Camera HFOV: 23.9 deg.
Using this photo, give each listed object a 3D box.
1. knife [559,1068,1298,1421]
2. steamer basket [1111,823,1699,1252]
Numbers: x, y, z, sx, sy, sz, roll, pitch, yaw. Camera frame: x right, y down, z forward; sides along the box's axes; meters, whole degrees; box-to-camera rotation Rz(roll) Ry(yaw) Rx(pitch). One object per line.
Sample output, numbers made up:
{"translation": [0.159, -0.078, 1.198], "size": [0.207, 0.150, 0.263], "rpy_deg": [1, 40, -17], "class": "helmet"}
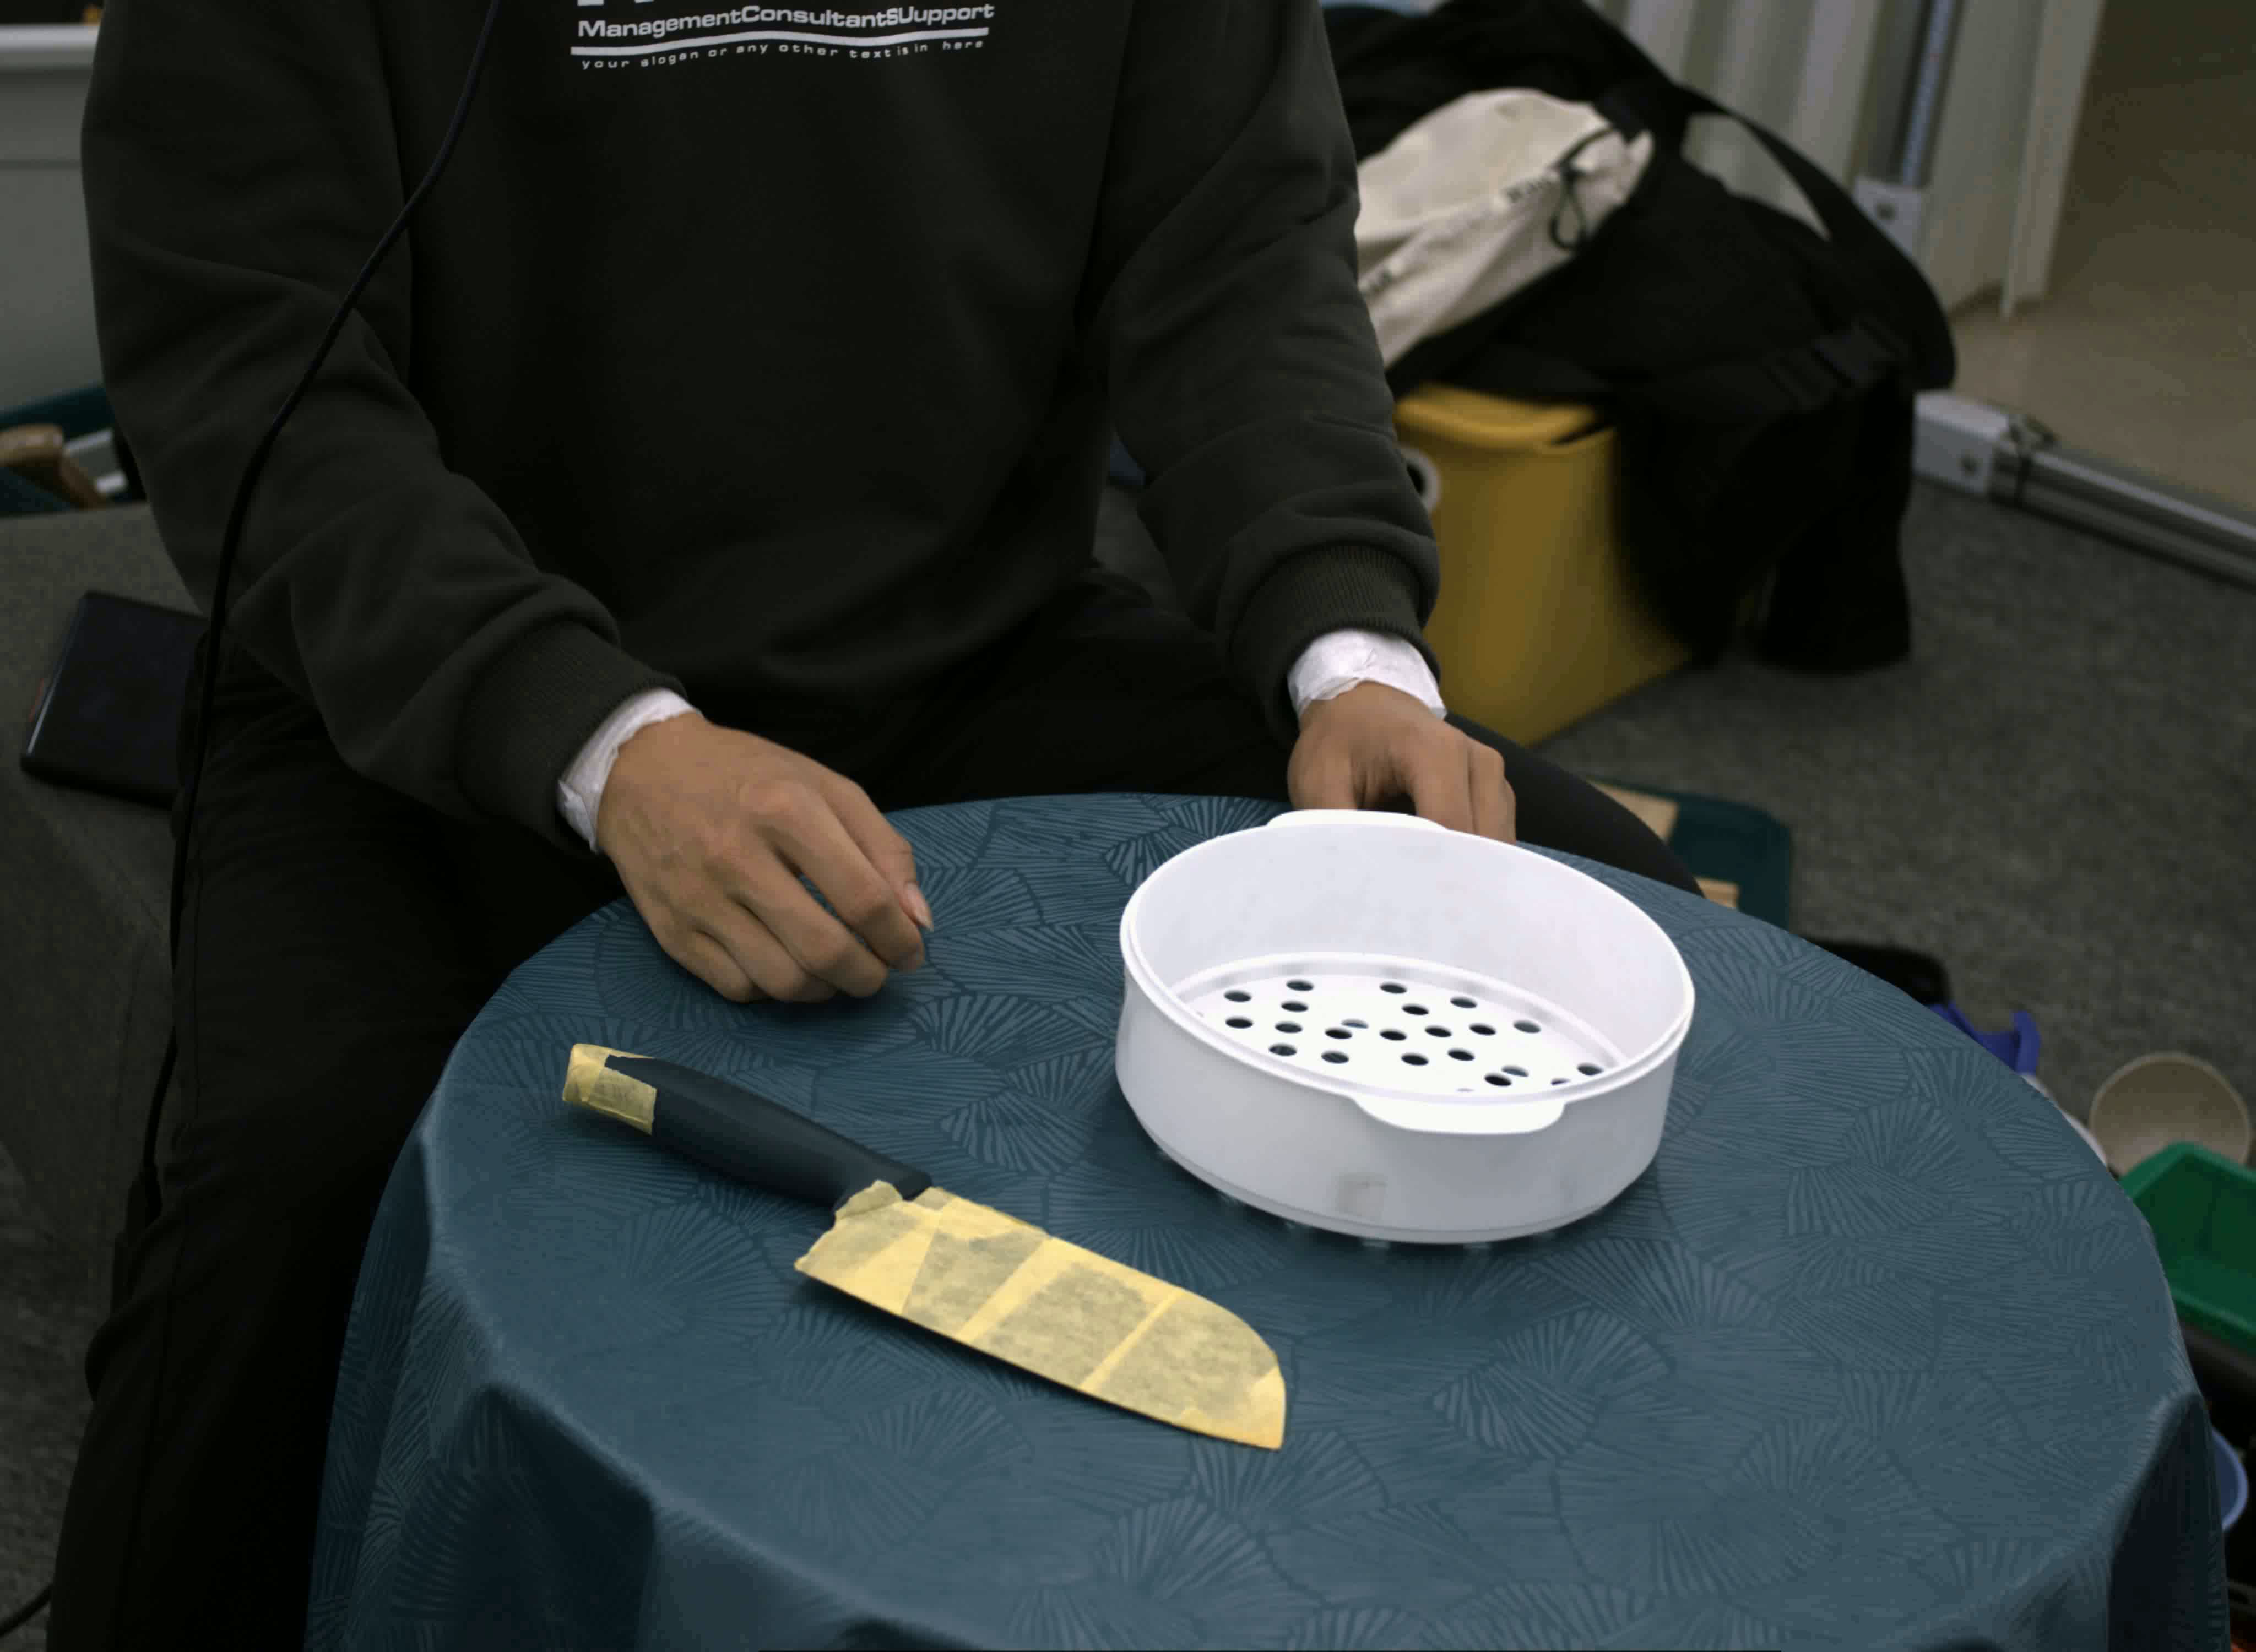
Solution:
{"translation": [-0.072, 0.139, 1.743], "size": [0.291, 0.027, 0.081], "rpy_deg": [20, 28, 24], "class": "knife"}
{"translation": [0.094, 0.075, 1.849], "size": [0.201, 0.069, 0.232], "rpy_deg": [3, 26, -9], "class": "steamer basket"}
